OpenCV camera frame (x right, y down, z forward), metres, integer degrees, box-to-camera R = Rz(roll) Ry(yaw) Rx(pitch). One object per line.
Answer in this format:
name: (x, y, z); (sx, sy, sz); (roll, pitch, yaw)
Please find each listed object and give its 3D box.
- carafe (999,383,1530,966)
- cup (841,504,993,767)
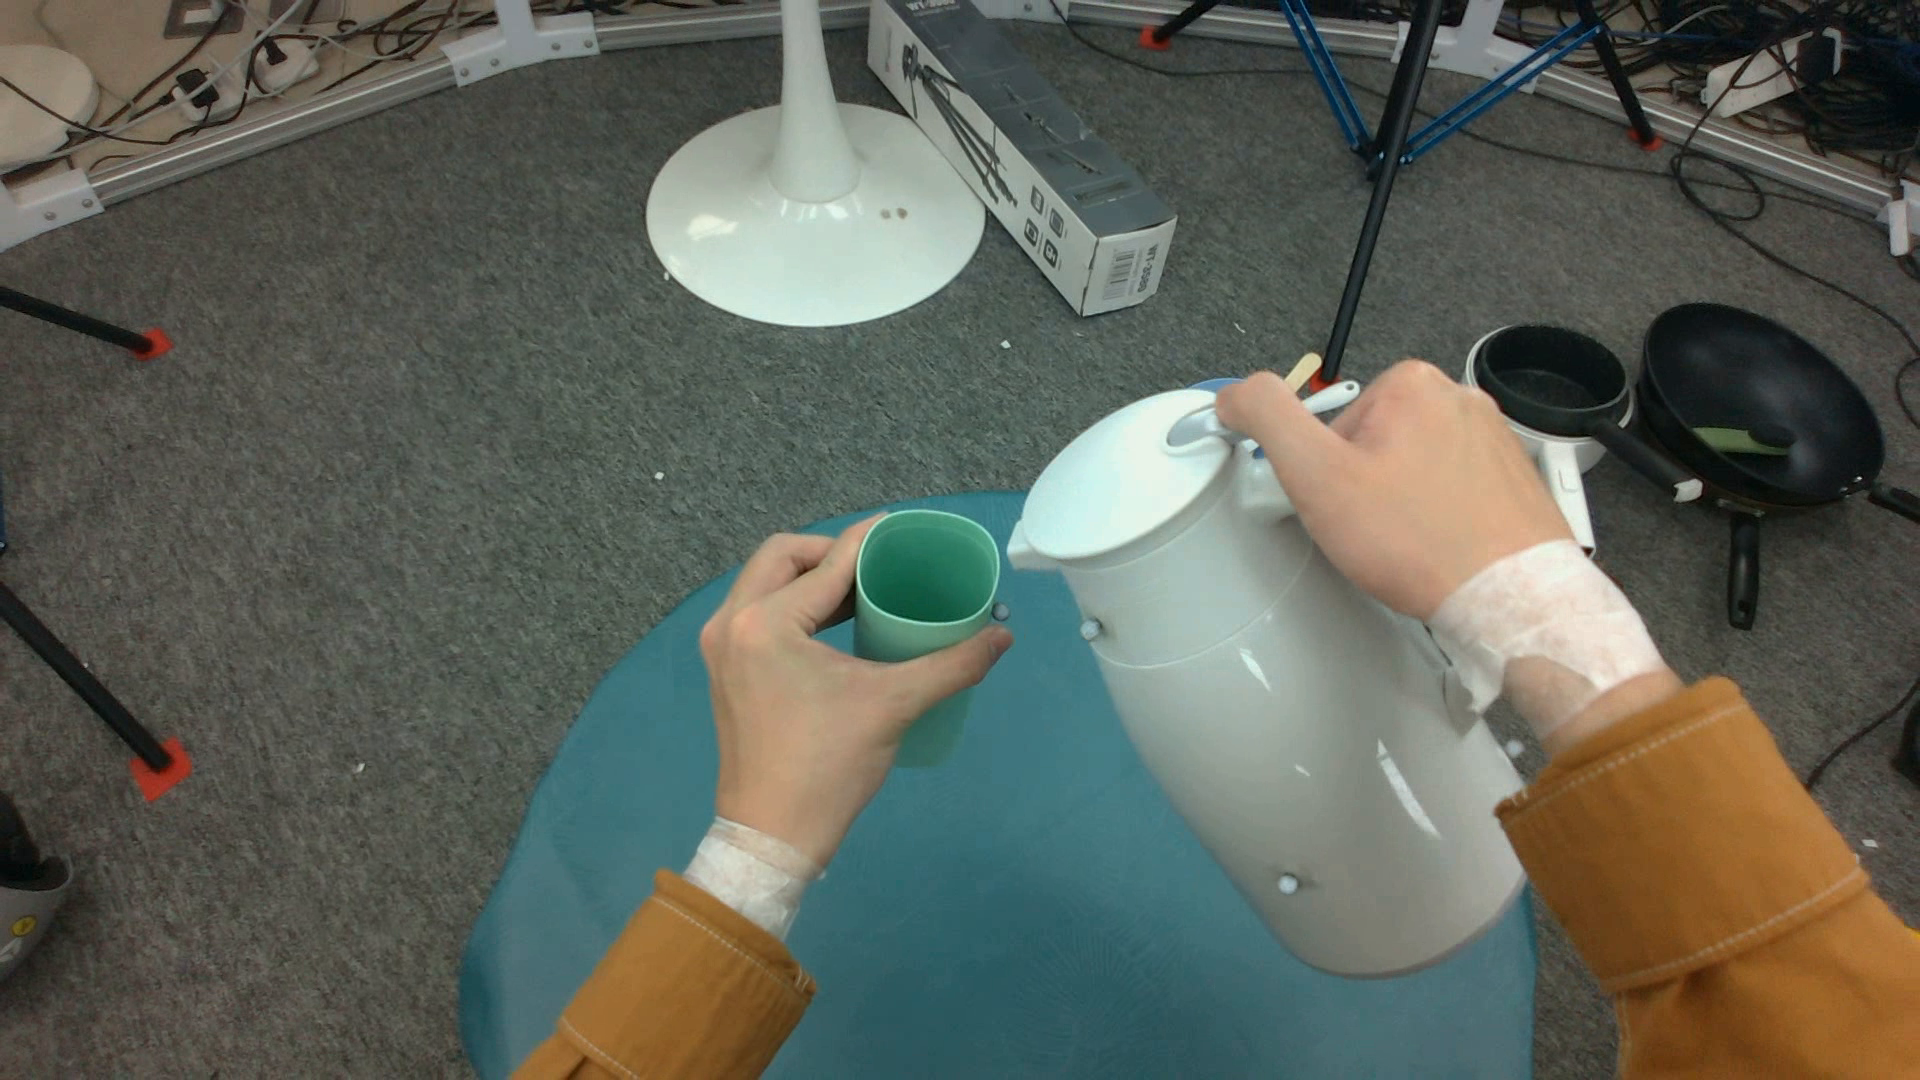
carafe: (0.139, 0.045, 0.563); (0.167, 0.248, 0.133); (-20, 32, 32)
cup: (-0.024, 0.049, 0.651); (0.067, 0.131, 0.067); (4, 51, -5)
